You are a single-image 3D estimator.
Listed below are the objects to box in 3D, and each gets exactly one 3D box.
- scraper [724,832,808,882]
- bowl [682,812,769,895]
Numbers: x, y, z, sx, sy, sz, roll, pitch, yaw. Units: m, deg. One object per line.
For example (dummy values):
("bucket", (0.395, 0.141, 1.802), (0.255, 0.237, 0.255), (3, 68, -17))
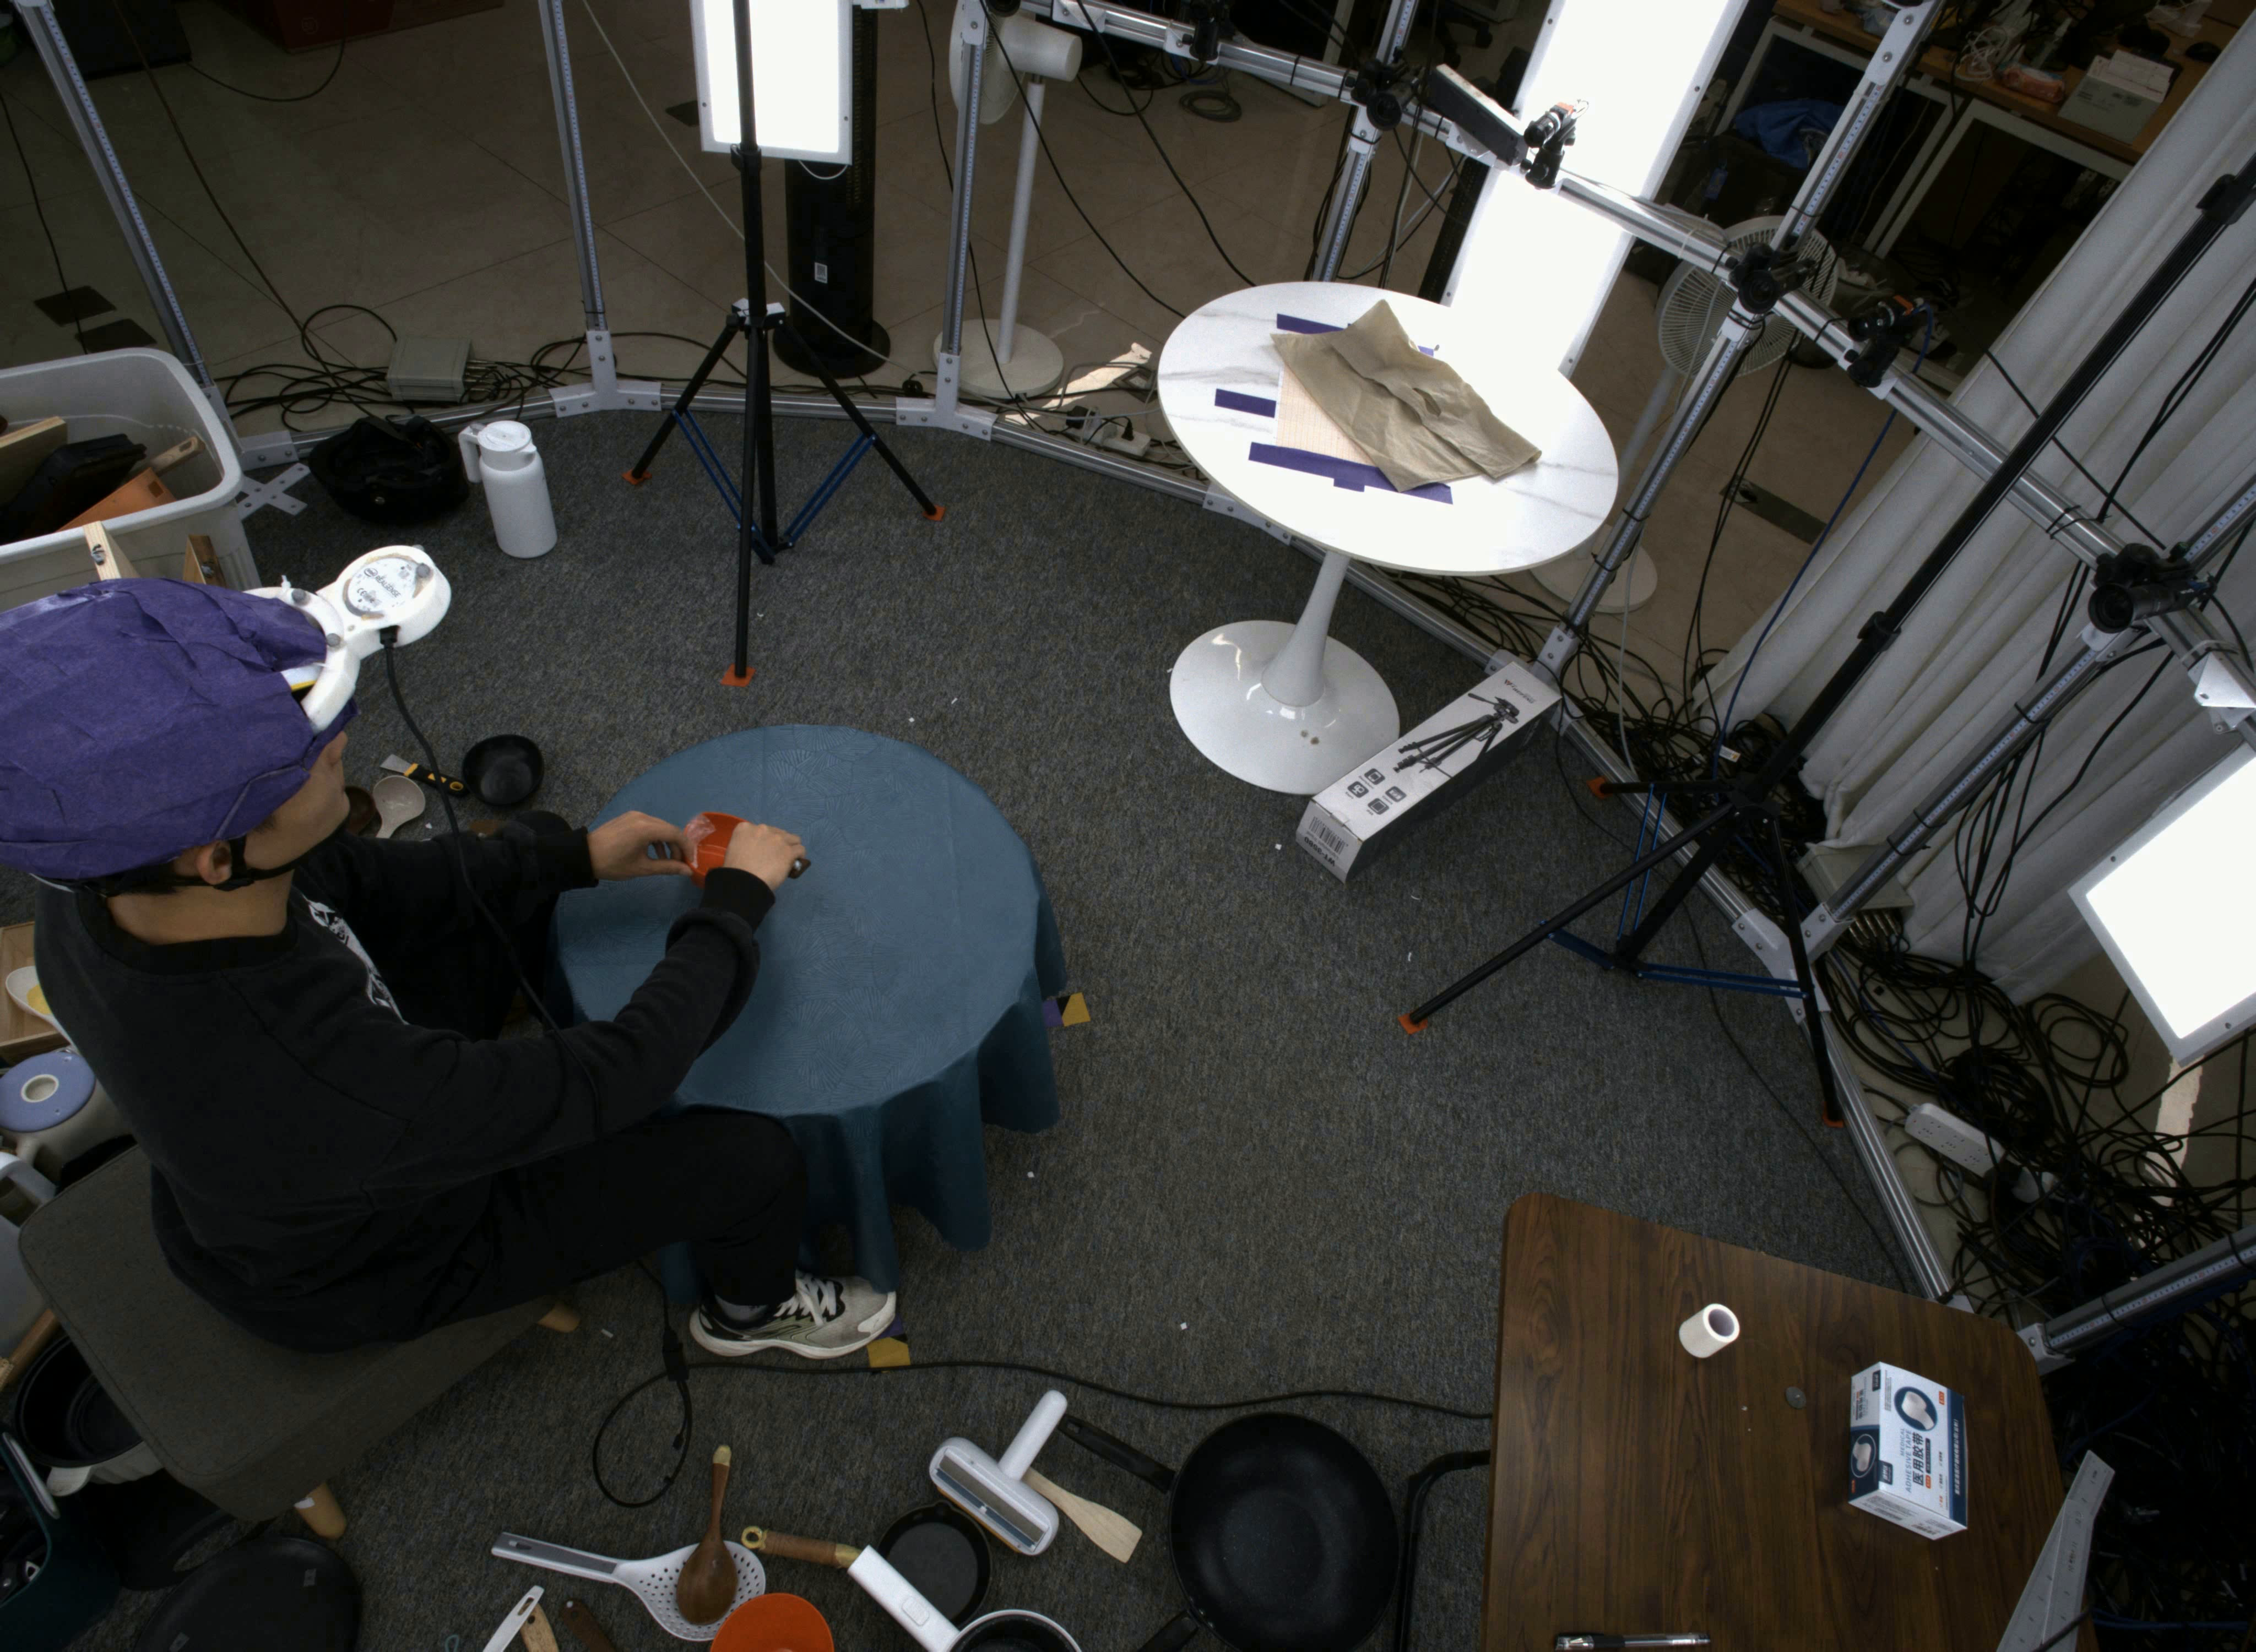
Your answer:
("scraper", (-0.427, 0.040, 1.548), (0.011, 0.204, 0.076), (49, 66, -26))
("bowl", (-0.510, 0.041, 1.621), (0.121, 0.051, 0.116), (25, 40, -21))
